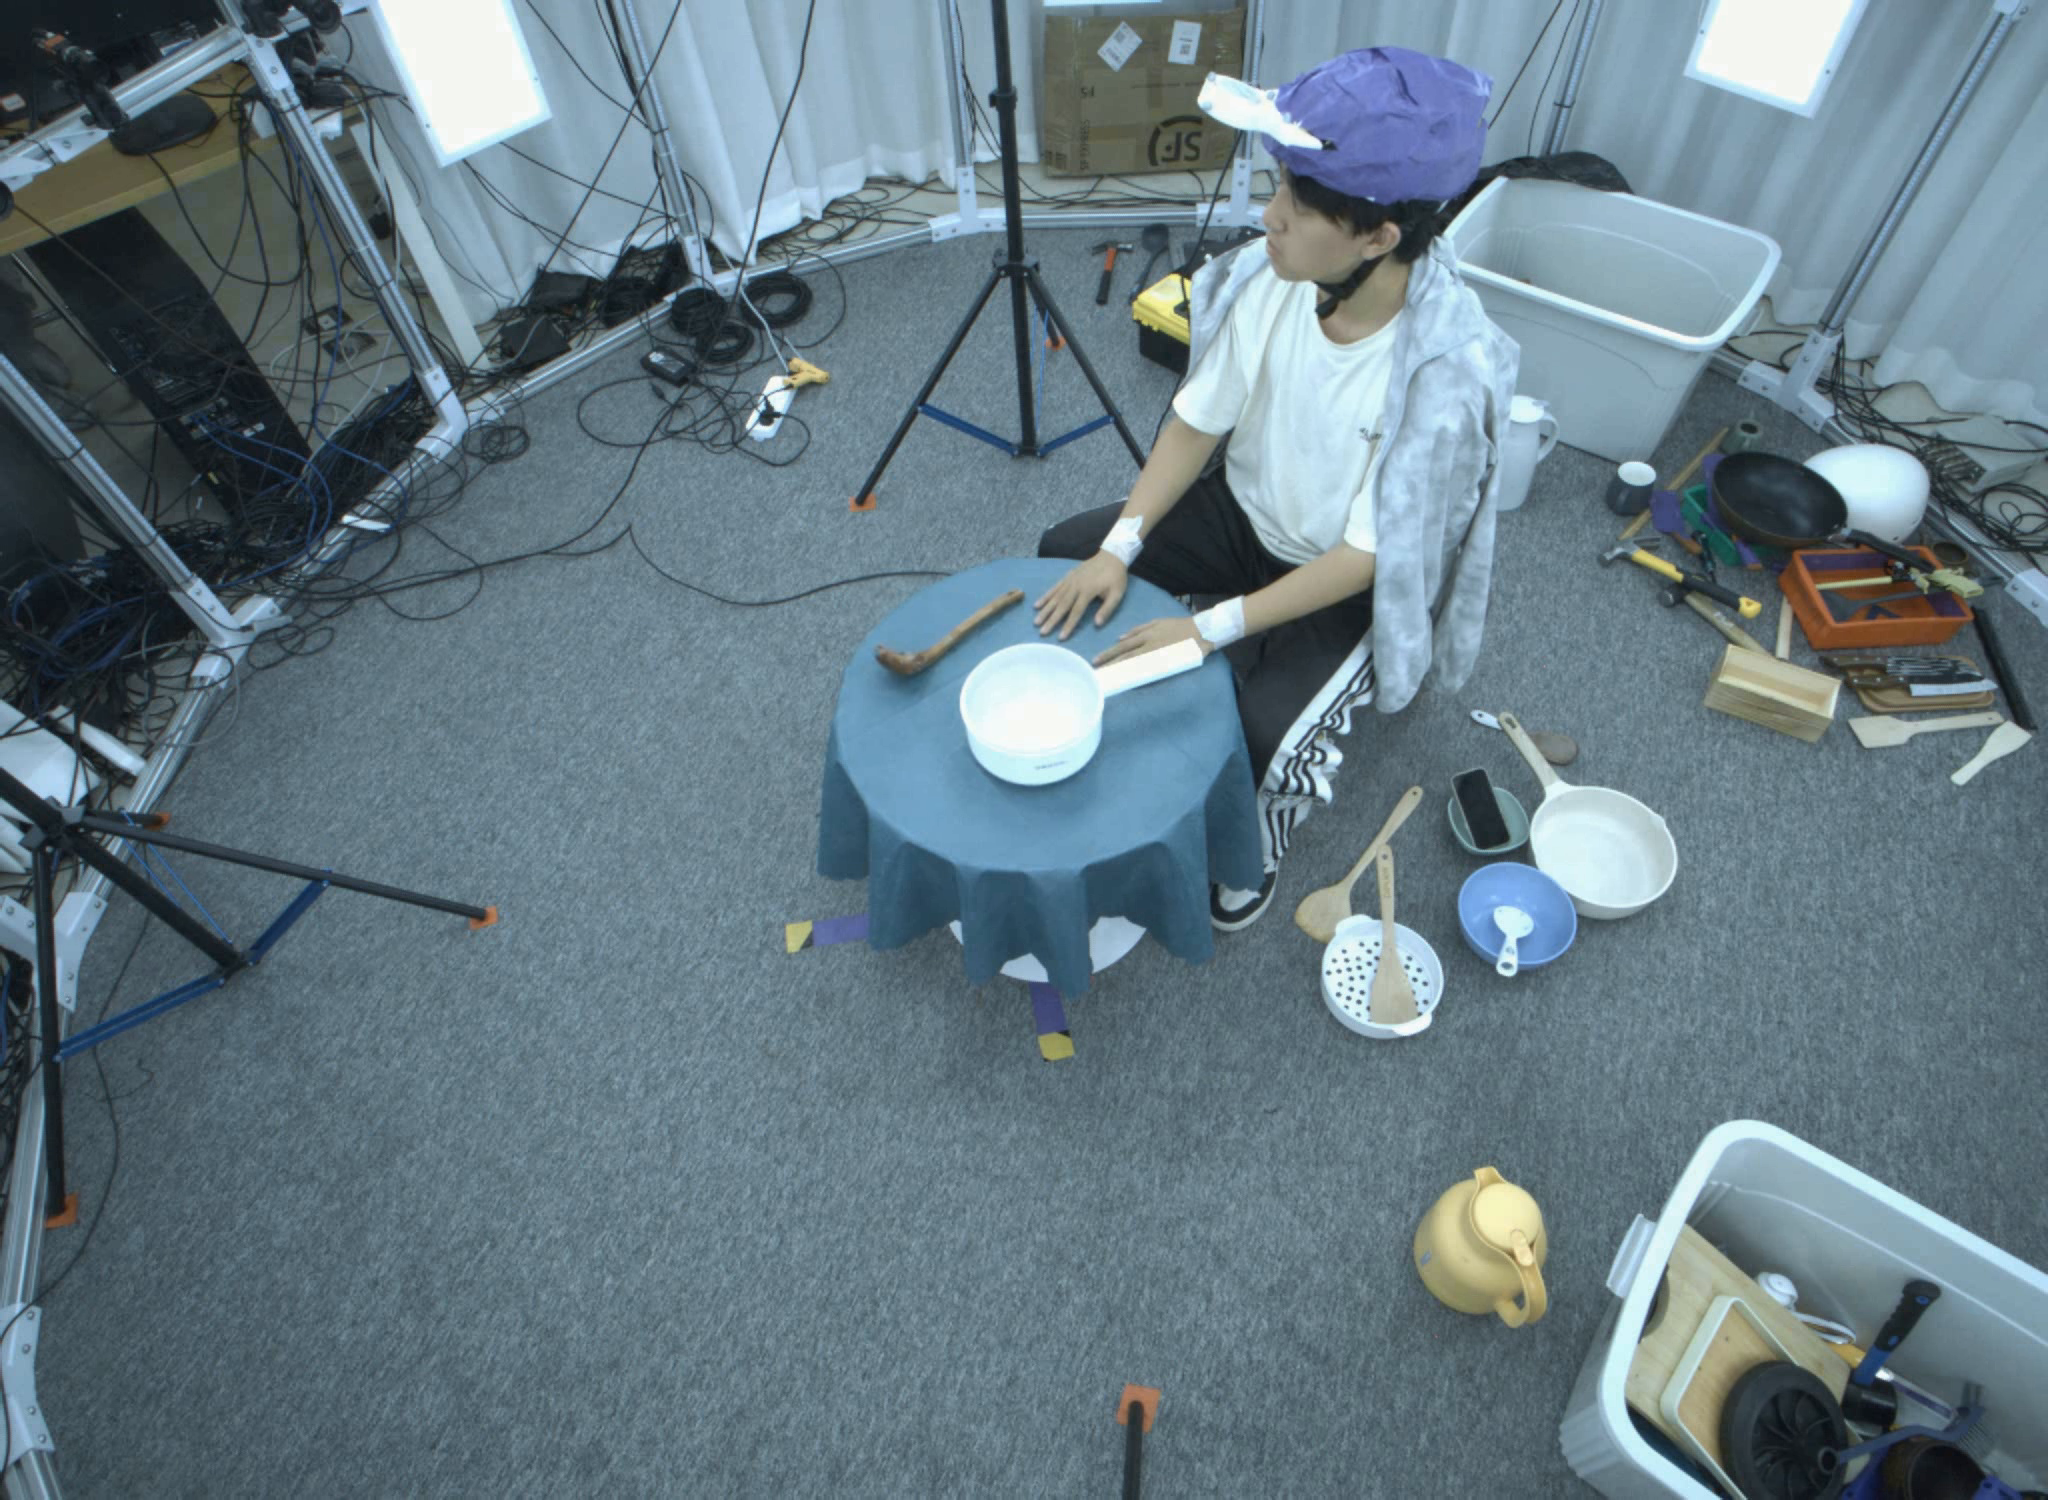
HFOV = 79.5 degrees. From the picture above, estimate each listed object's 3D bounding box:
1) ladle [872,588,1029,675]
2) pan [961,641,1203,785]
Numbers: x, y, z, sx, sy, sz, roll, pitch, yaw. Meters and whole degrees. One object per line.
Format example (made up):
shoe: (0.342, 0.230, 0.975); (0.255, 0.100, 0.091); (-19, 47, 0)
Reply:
ladle: (-0.112, -0.200, 1.886); (0.276, 0.078, 0.080); (-37, 49, -19)
pan: (0.086, -0.069, 1.776); (0.357, 0.103, 0.197); (-17, 55, -11)
